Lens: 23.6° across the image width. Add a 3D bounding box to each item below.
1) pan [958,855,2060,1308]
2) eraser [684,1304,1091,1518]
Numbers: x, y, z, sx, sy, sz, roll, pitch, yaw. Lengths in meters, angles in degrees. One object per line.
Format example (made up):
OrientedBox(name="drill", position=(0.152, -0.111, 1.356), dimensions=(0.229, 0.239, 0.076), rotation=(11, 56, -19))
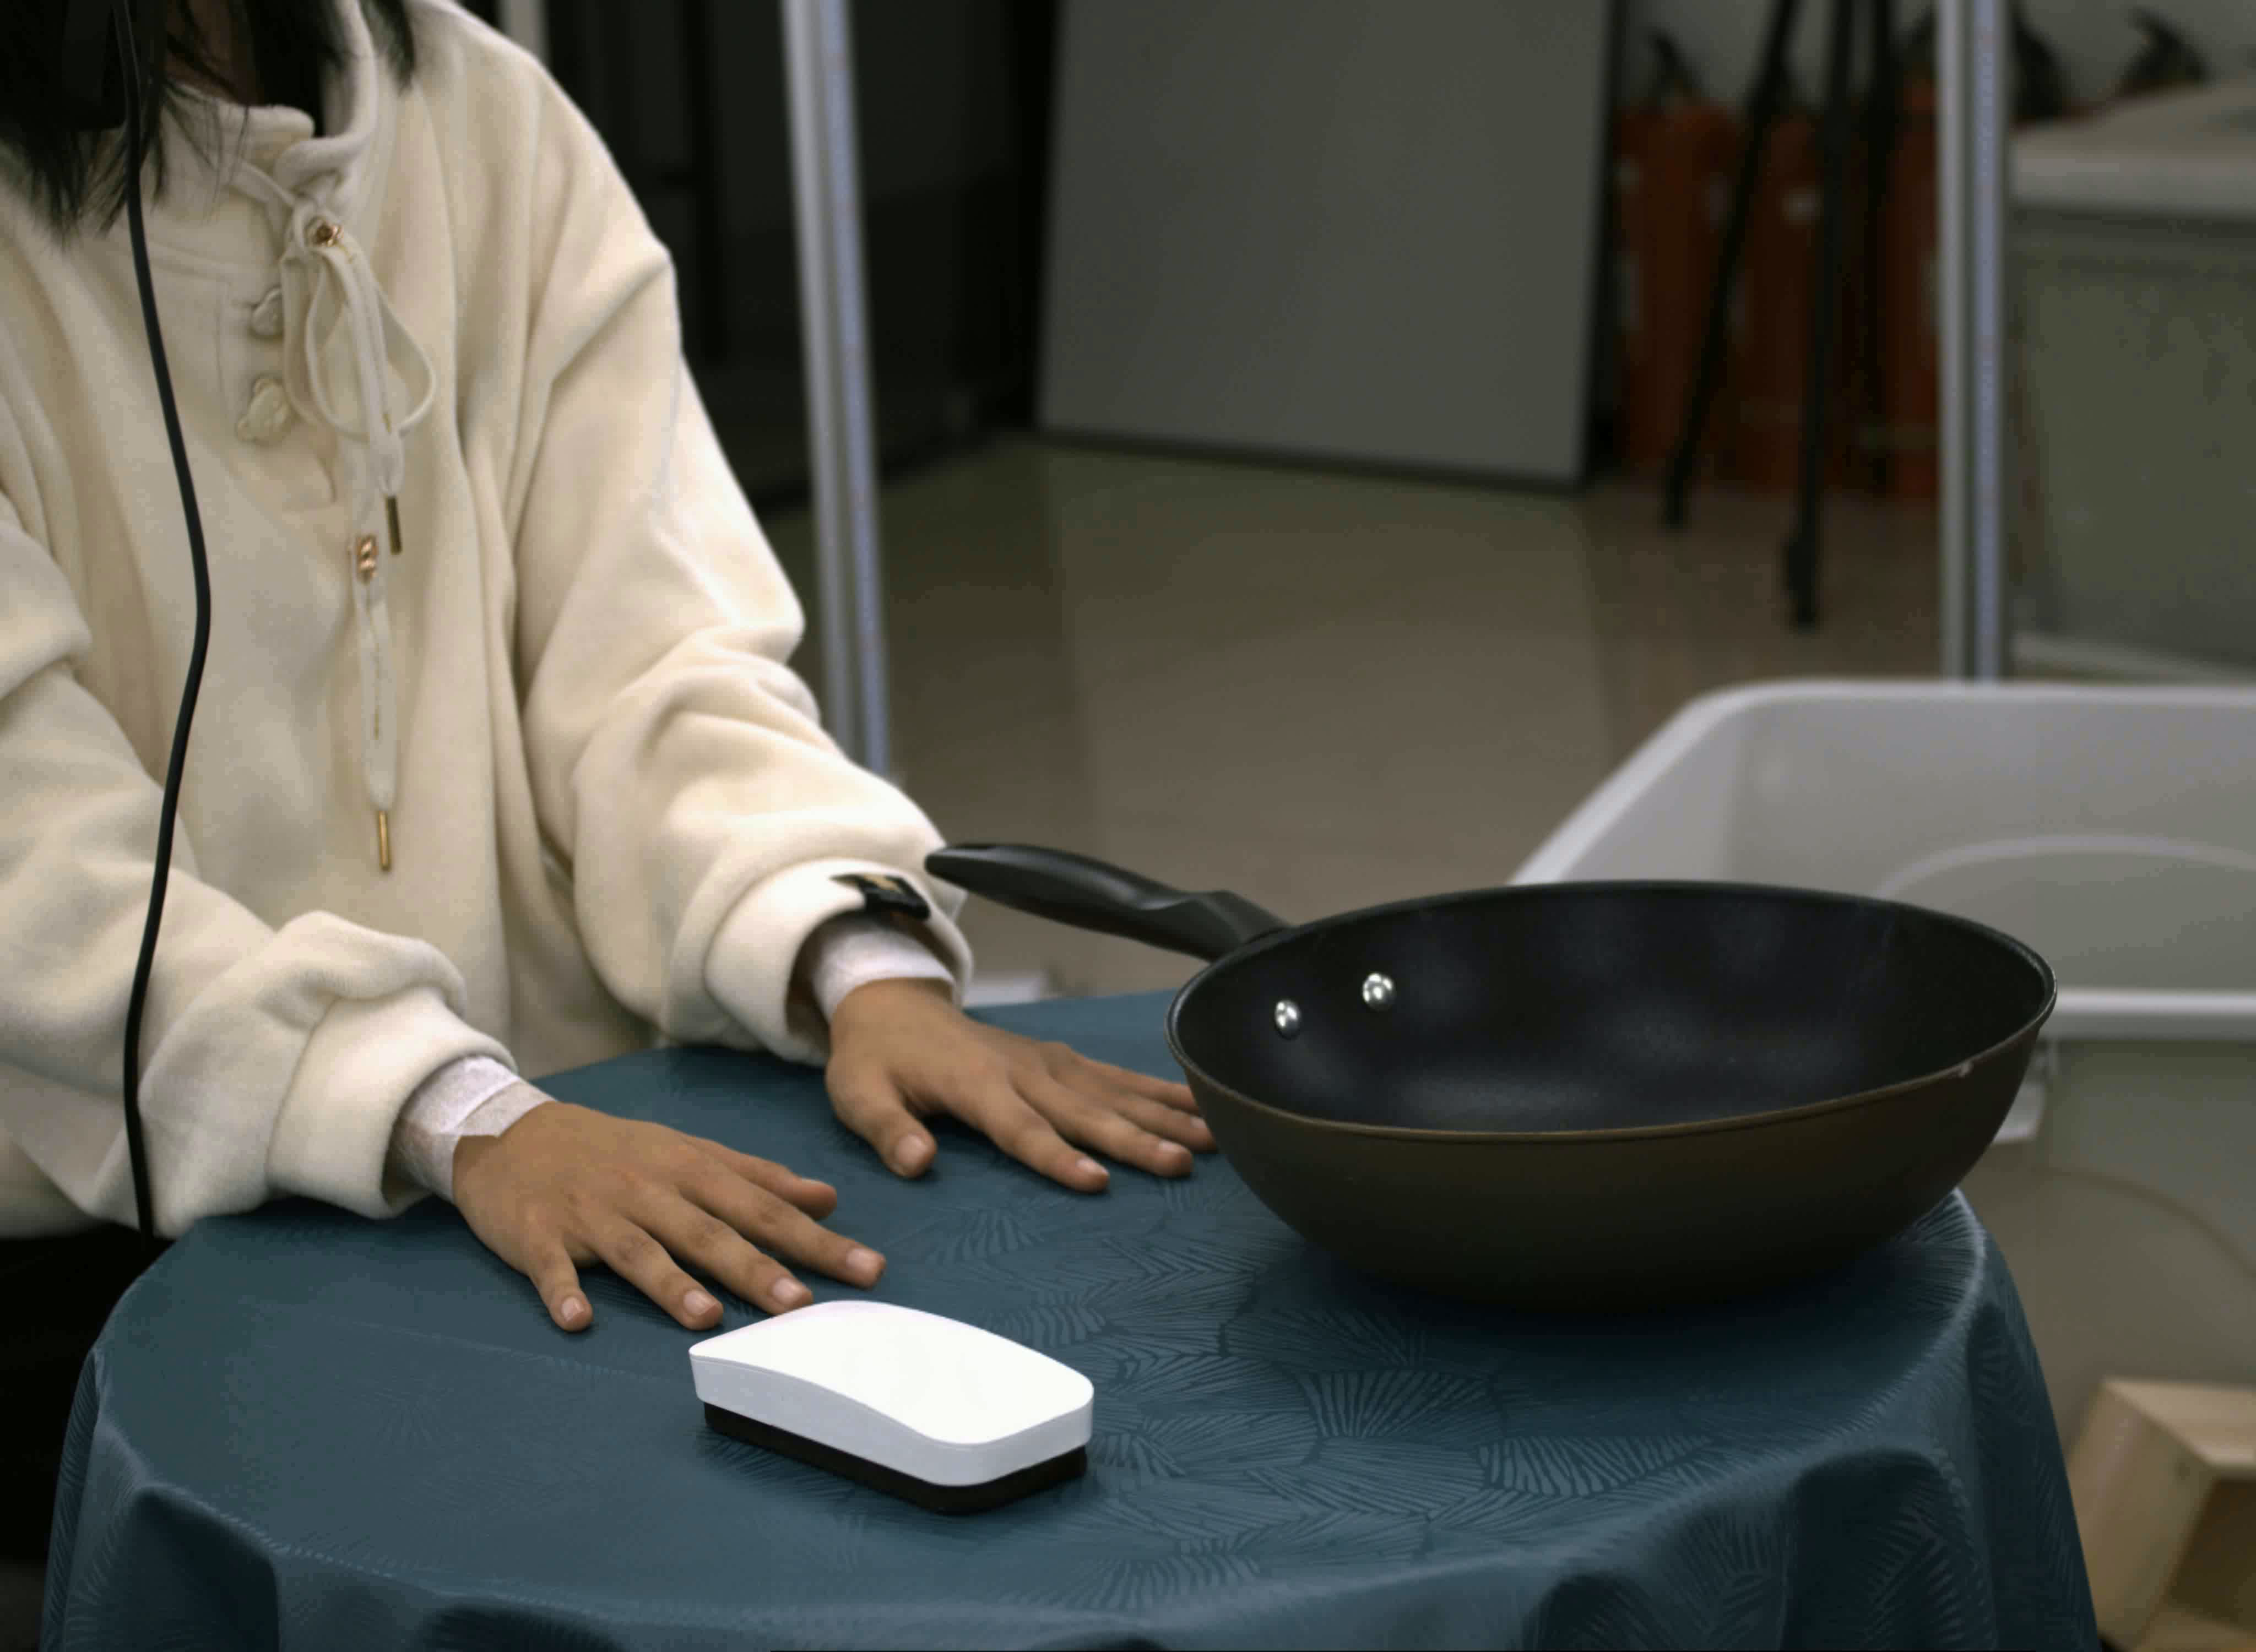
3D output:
OrientedBox(name="pan", position=(0.092, 0.077, 1.749), dimensions=(0.282, 0.088, 0.468), rotation=(-14, 16, -38))
OrientedBox(name="eraser", position=(-0.069, 0.165, 1.550), dimensions=(0.062, 0.035, 0.132), rotation=(-12, 16, -40))
